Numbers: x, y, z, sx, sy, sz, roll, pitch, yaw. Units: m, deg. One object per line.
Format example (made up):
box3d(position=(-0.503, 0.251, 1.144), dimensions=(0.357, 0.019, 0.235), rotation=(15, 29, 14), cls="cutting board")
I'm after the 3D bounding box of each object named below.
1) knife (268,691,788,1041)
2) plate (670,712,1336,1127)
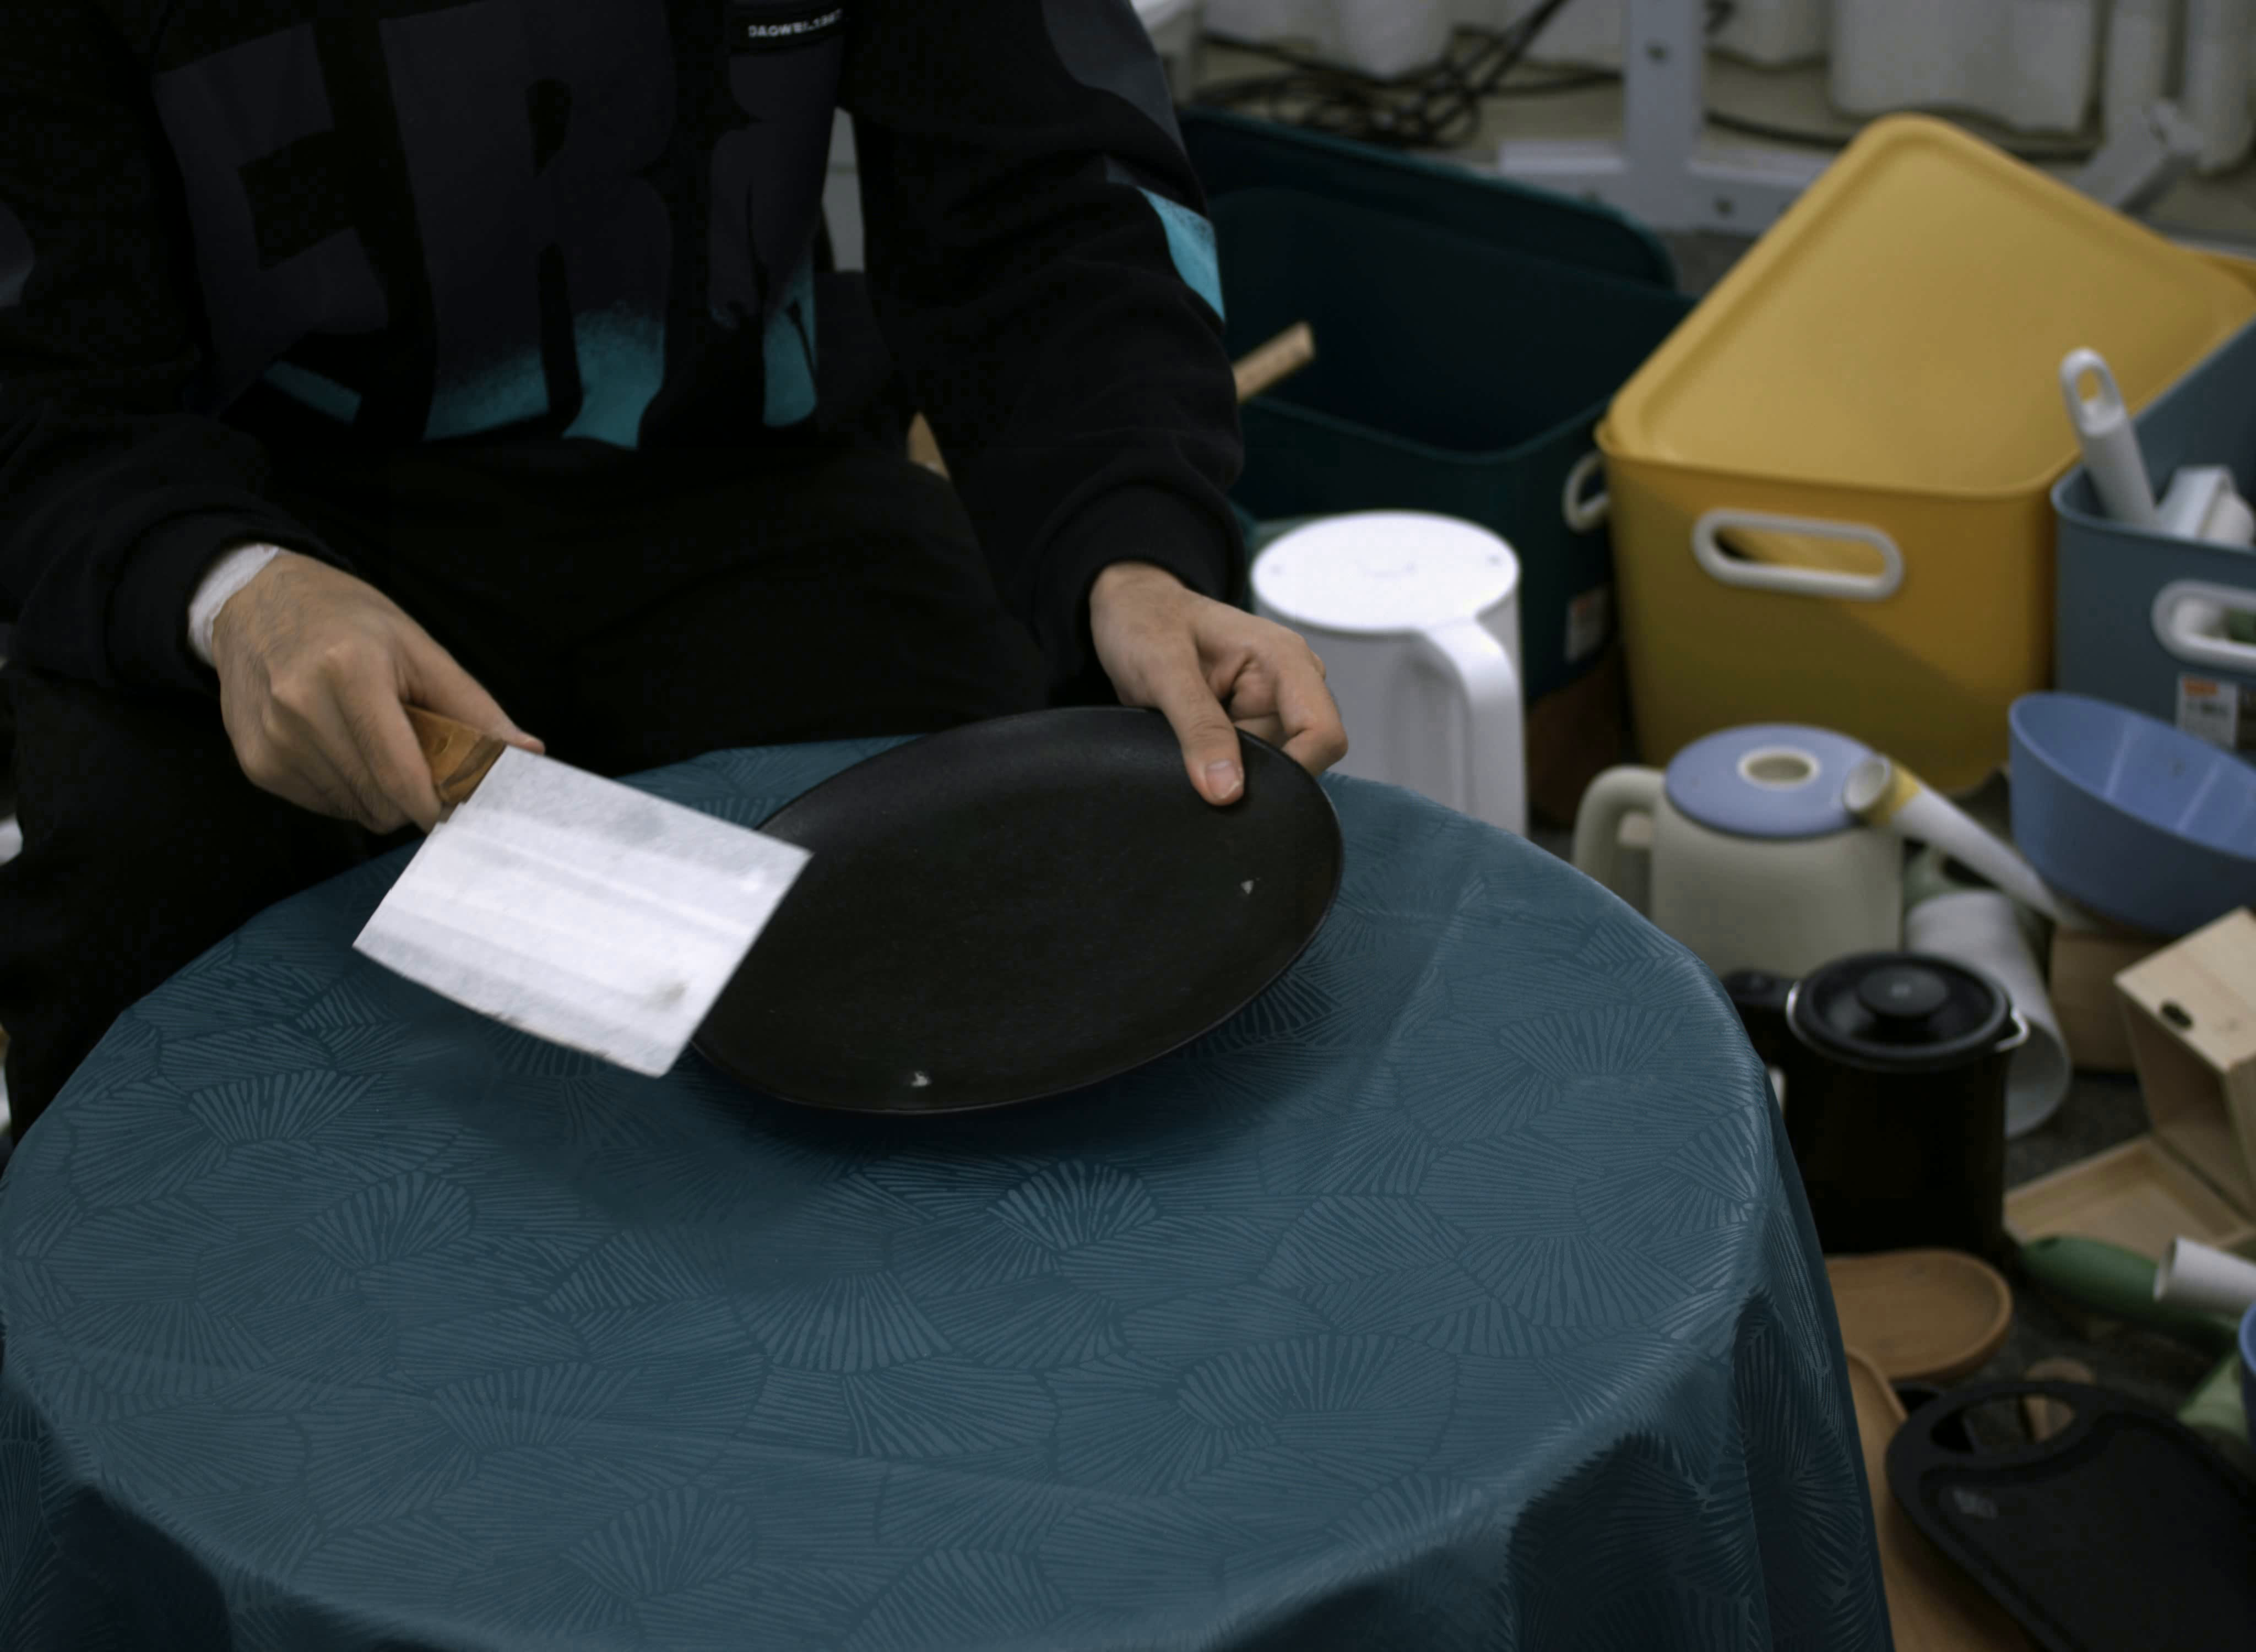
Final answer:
box3d(position=(-0.223, 0.015, 1.929), dimensions=(0.305, 0.021, 0.094), rotation=(18, 71, 50), cls="knife")
box3d(position=(-0.045, 0.036, 1.972), dimensions=(0.243, 0.023, 0.248), rotation=(-9, 33, 6), cls="plate")
